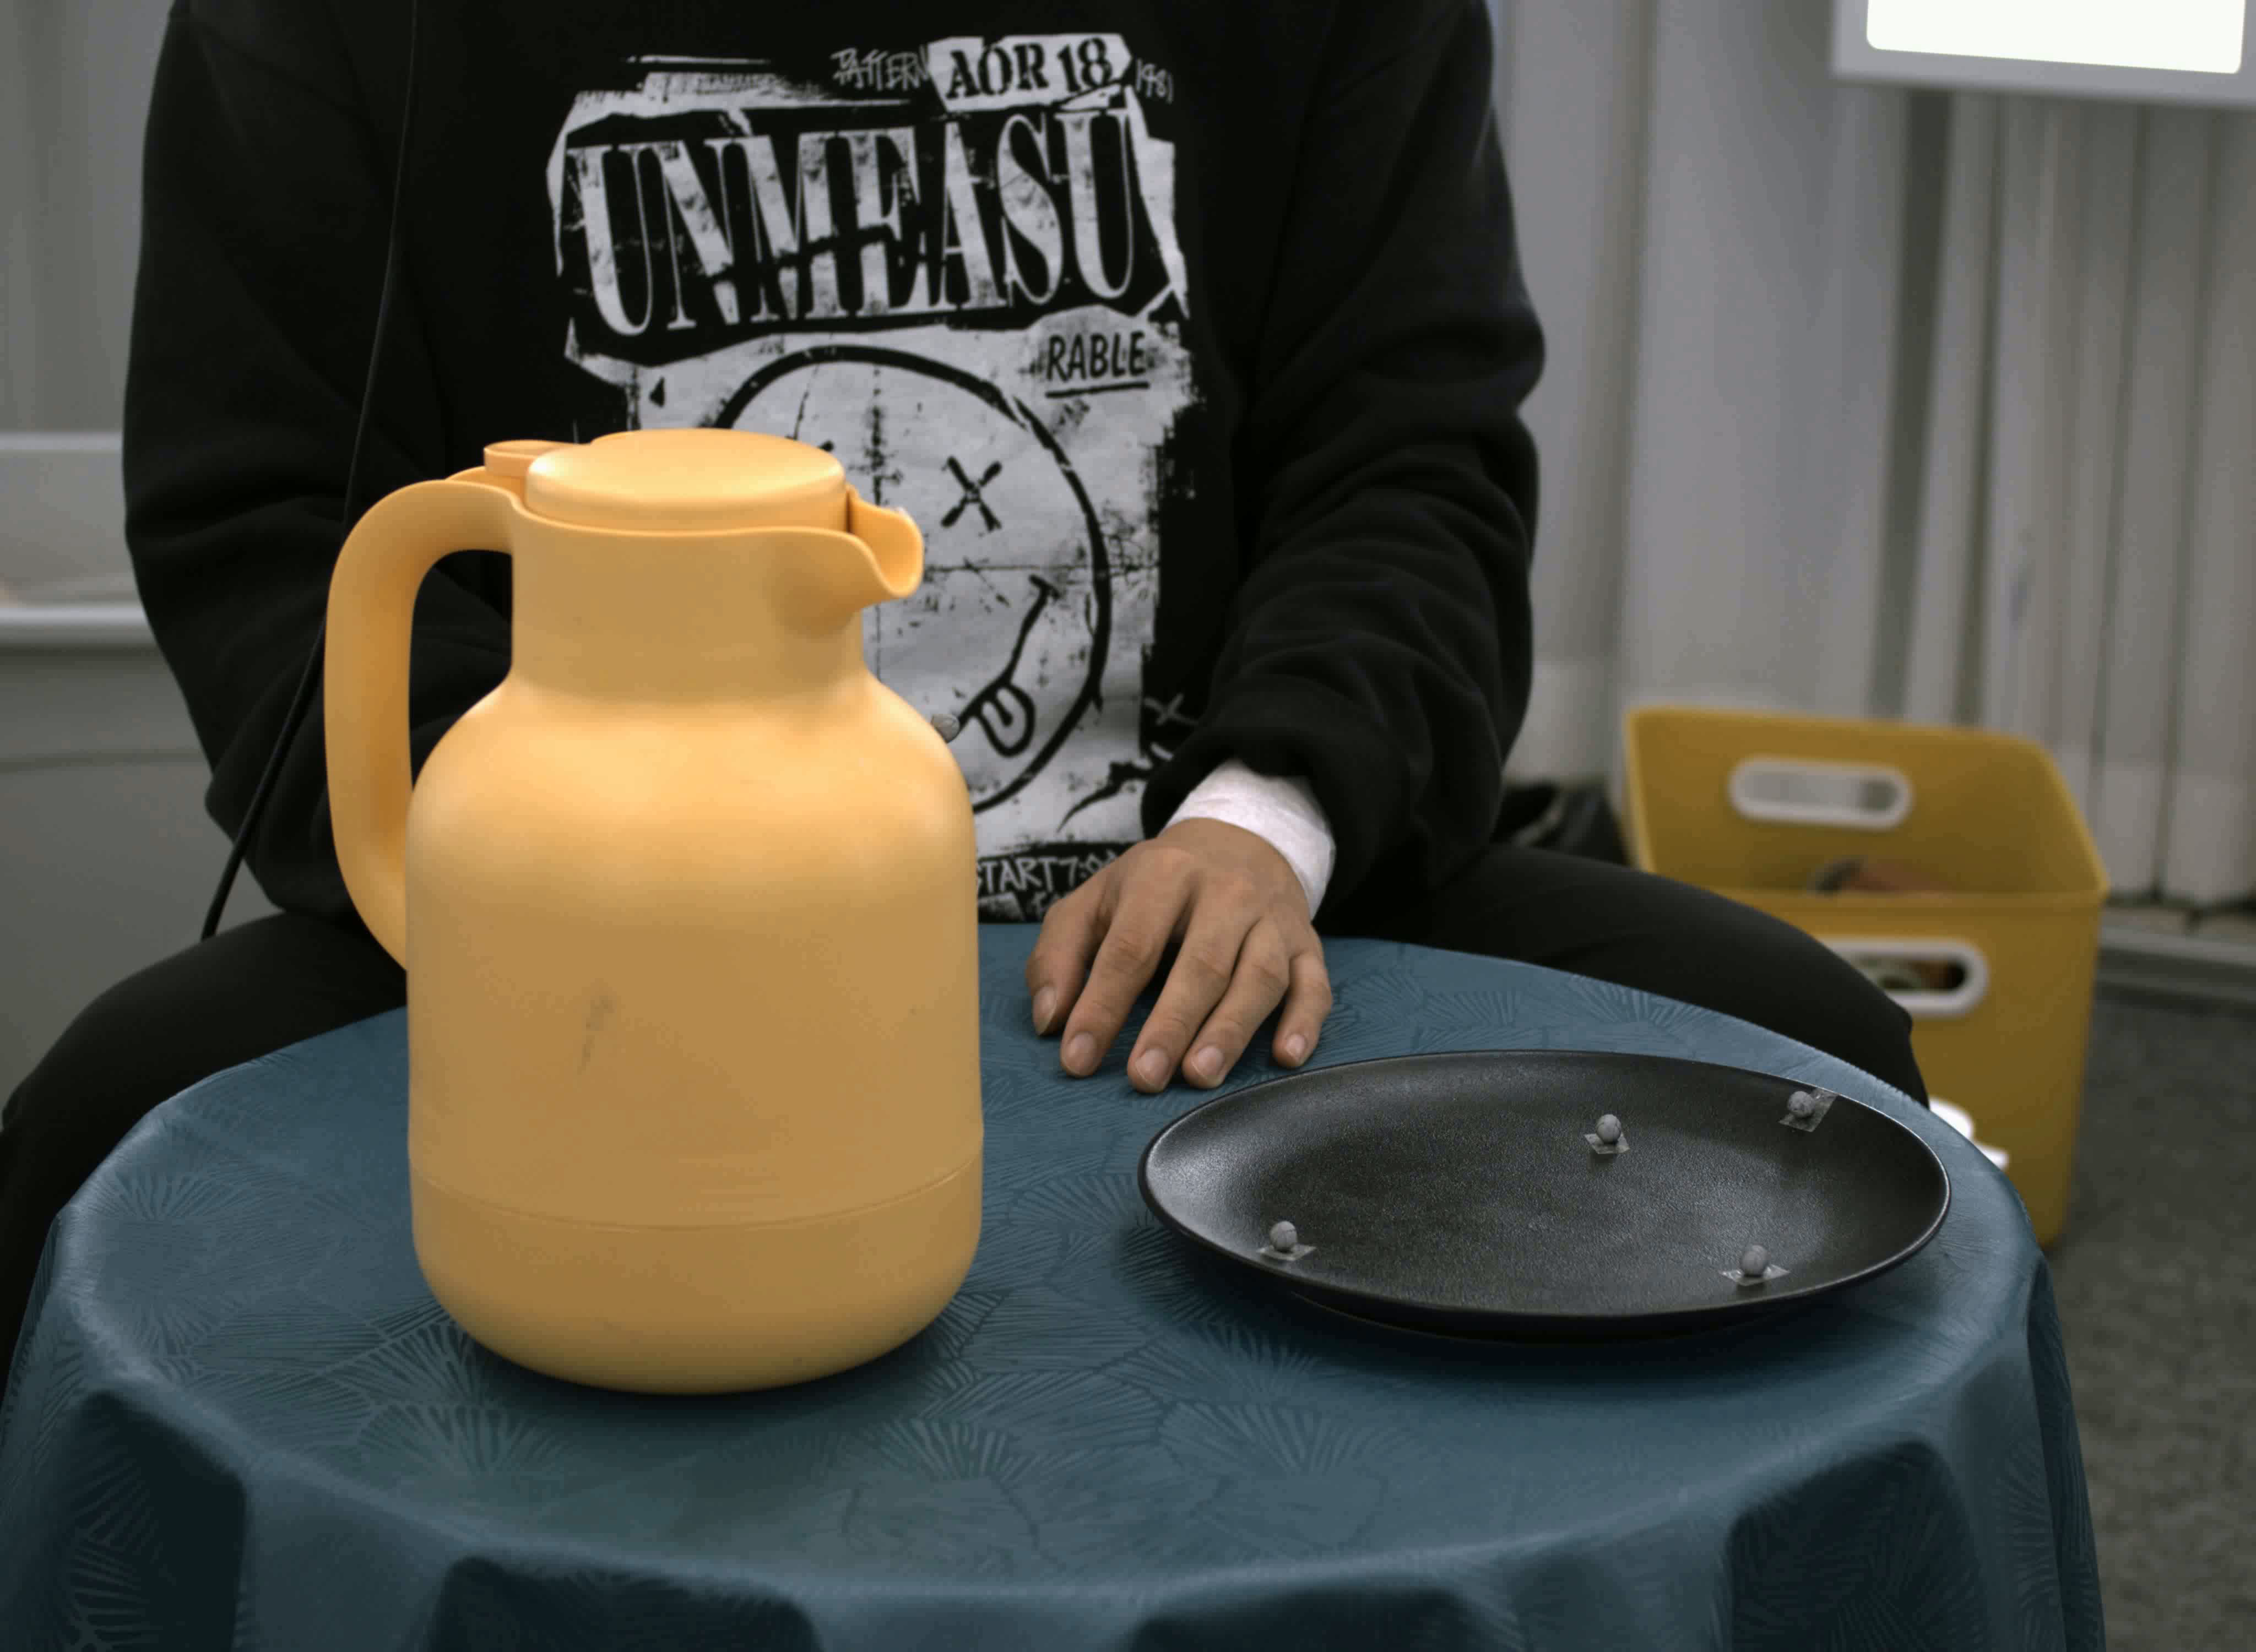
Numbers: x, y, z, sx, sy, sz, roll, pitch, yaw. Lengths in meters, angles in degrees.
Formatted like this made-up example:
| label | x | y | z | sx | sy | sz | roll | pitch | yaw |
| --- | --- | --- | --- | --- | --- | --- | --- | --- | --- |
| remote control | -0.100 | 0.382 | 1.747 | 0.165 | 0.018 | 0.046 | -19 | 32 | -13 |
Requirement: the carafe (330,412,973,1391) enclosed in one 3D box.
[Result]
| label | x | y | z | sx | sy | sz | roll | pitch | yaw |
| --- | --- | --- | --- | --- | --- | --- | --- | --- | --- |
| carafe | -0.139 | 0.013 | 1.481 | 0.200 | 0.262 | 0.164 | 13 | 18 | 32 |

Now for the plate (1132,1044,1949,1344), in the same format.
| label | x | y | z | sx | sy | sz | roll | pitch | yaw |
| --- | --- | --- | --- | --- | --- | --- | --- | --- | --- |
| plate | 0.123 | 0.113 | 1.579 | 0.243 | 0.023 | 0.243 | 1 | 15 | 0 |
